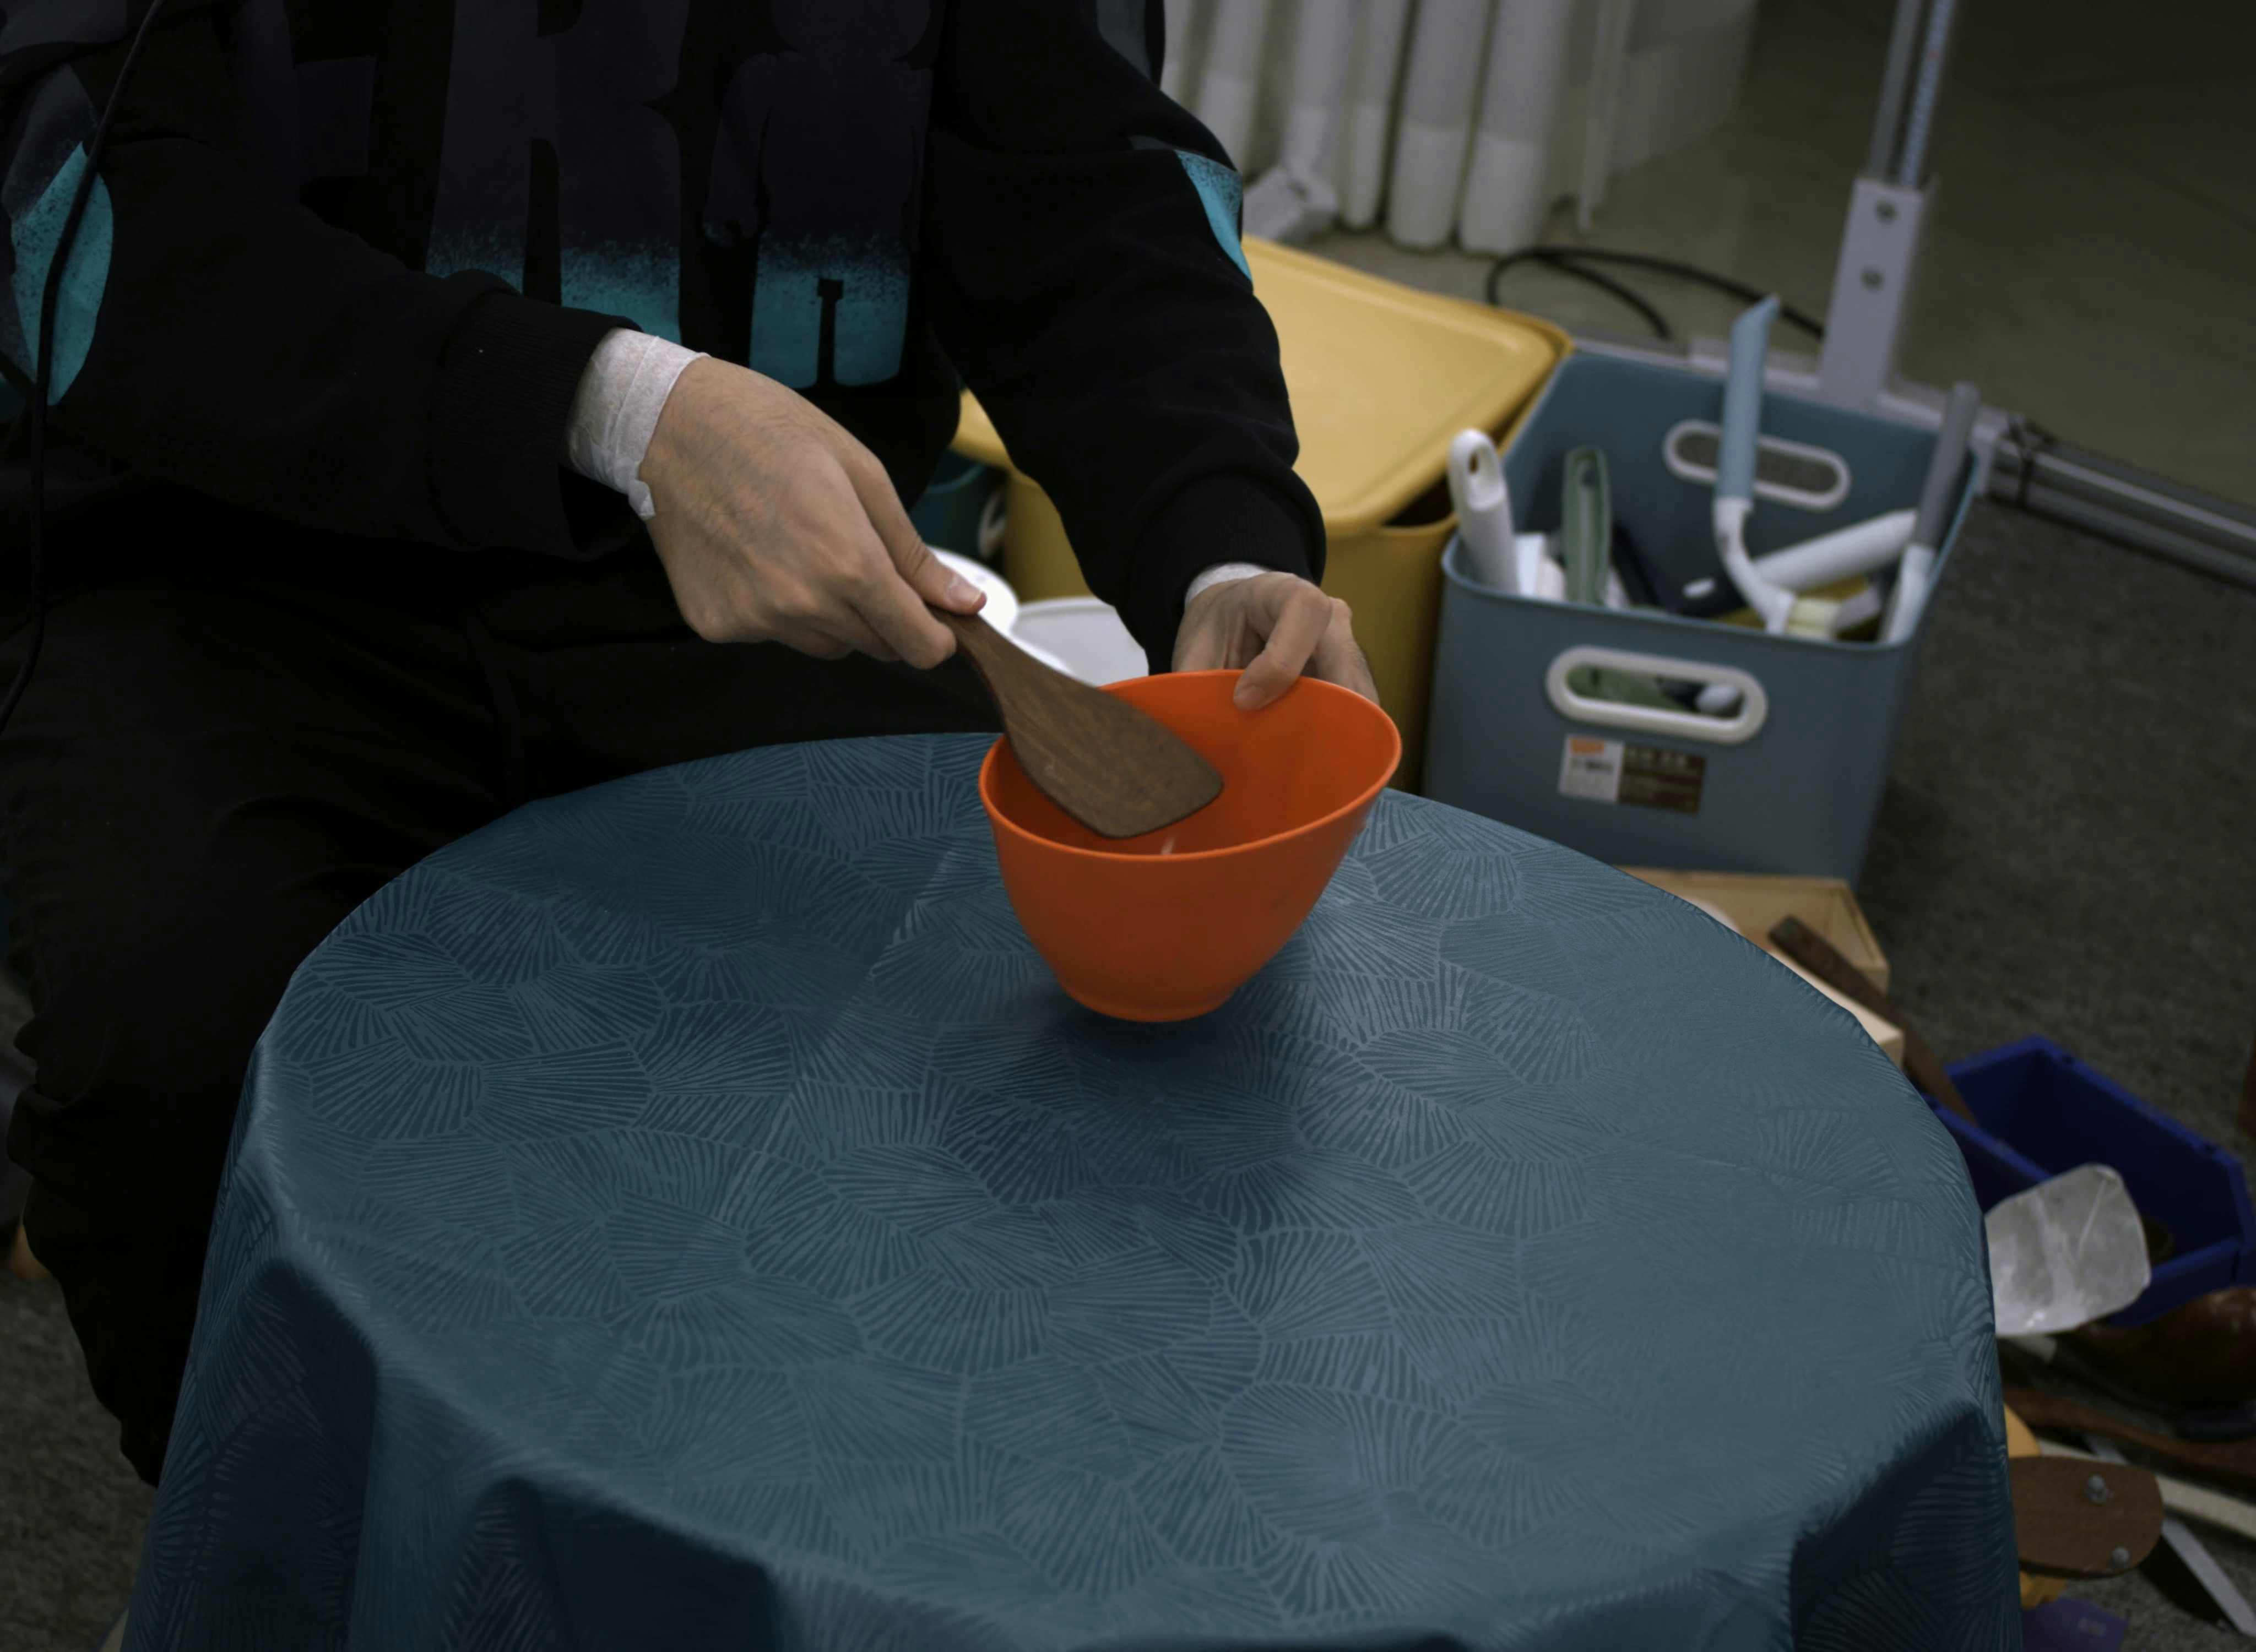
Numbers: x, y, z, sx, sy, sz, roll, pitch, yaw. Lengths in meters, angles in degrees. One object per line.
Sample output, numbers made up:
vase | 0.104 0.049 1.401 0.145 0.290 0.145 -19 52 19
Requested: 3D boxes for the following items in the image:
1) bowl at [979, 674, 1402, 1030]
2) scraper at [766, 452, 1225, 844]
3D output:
bowl | 0.020 0.014 1.876 0.147 0.104 0.149 1 30 -1
scraper | -0.055 -0.066 1.907 0.212 0.011 0.075 44 39 21
